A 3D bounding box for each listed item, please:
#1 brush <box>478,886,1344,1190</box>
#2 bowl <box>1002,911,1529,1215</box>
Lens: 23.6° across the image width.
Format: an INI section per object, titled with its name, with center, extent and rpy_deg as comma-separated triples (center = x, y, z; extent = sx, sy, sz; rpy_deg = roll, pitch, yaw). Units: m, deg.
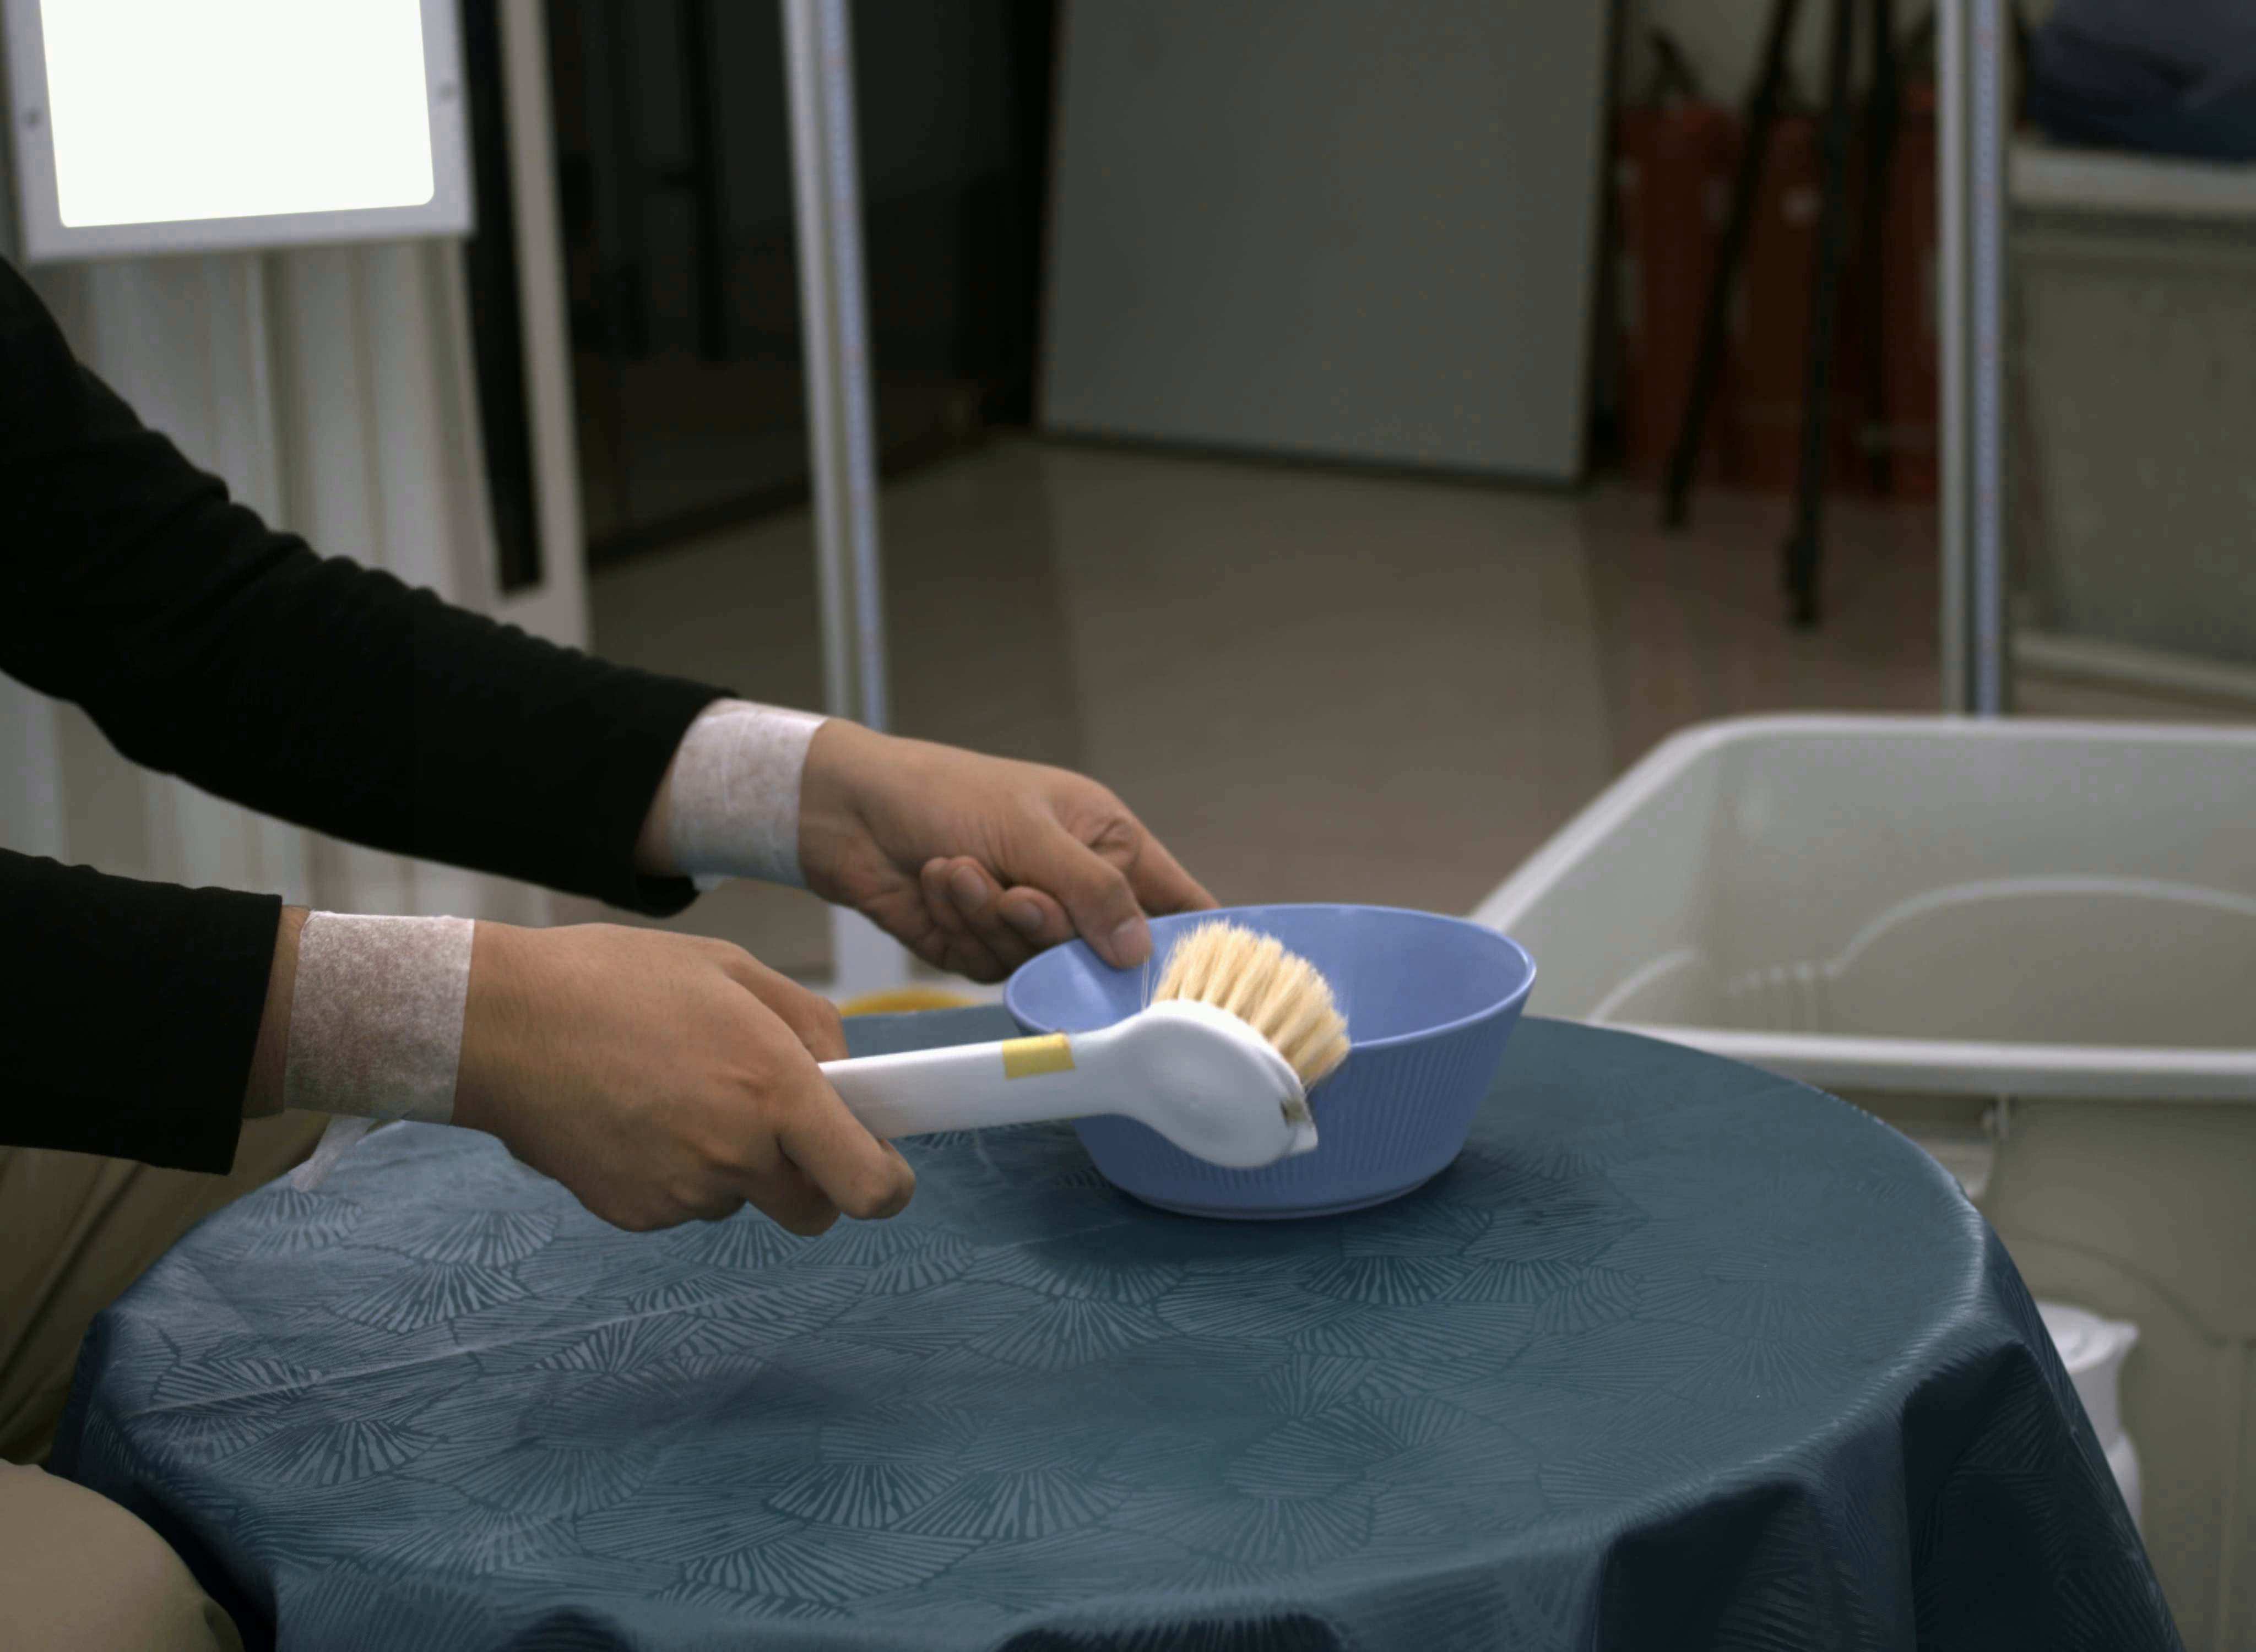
[brush]
center = -0.065, 0.069, 1.608
extent = 0.266, 0.069, 0.056
rpy_deg = -7, 30, 18
[bowl]
center = 0.047, 0.080, 1.772
extent = 0.174, 0.071, 0.176
rpy_deg = -4, 13, 0
